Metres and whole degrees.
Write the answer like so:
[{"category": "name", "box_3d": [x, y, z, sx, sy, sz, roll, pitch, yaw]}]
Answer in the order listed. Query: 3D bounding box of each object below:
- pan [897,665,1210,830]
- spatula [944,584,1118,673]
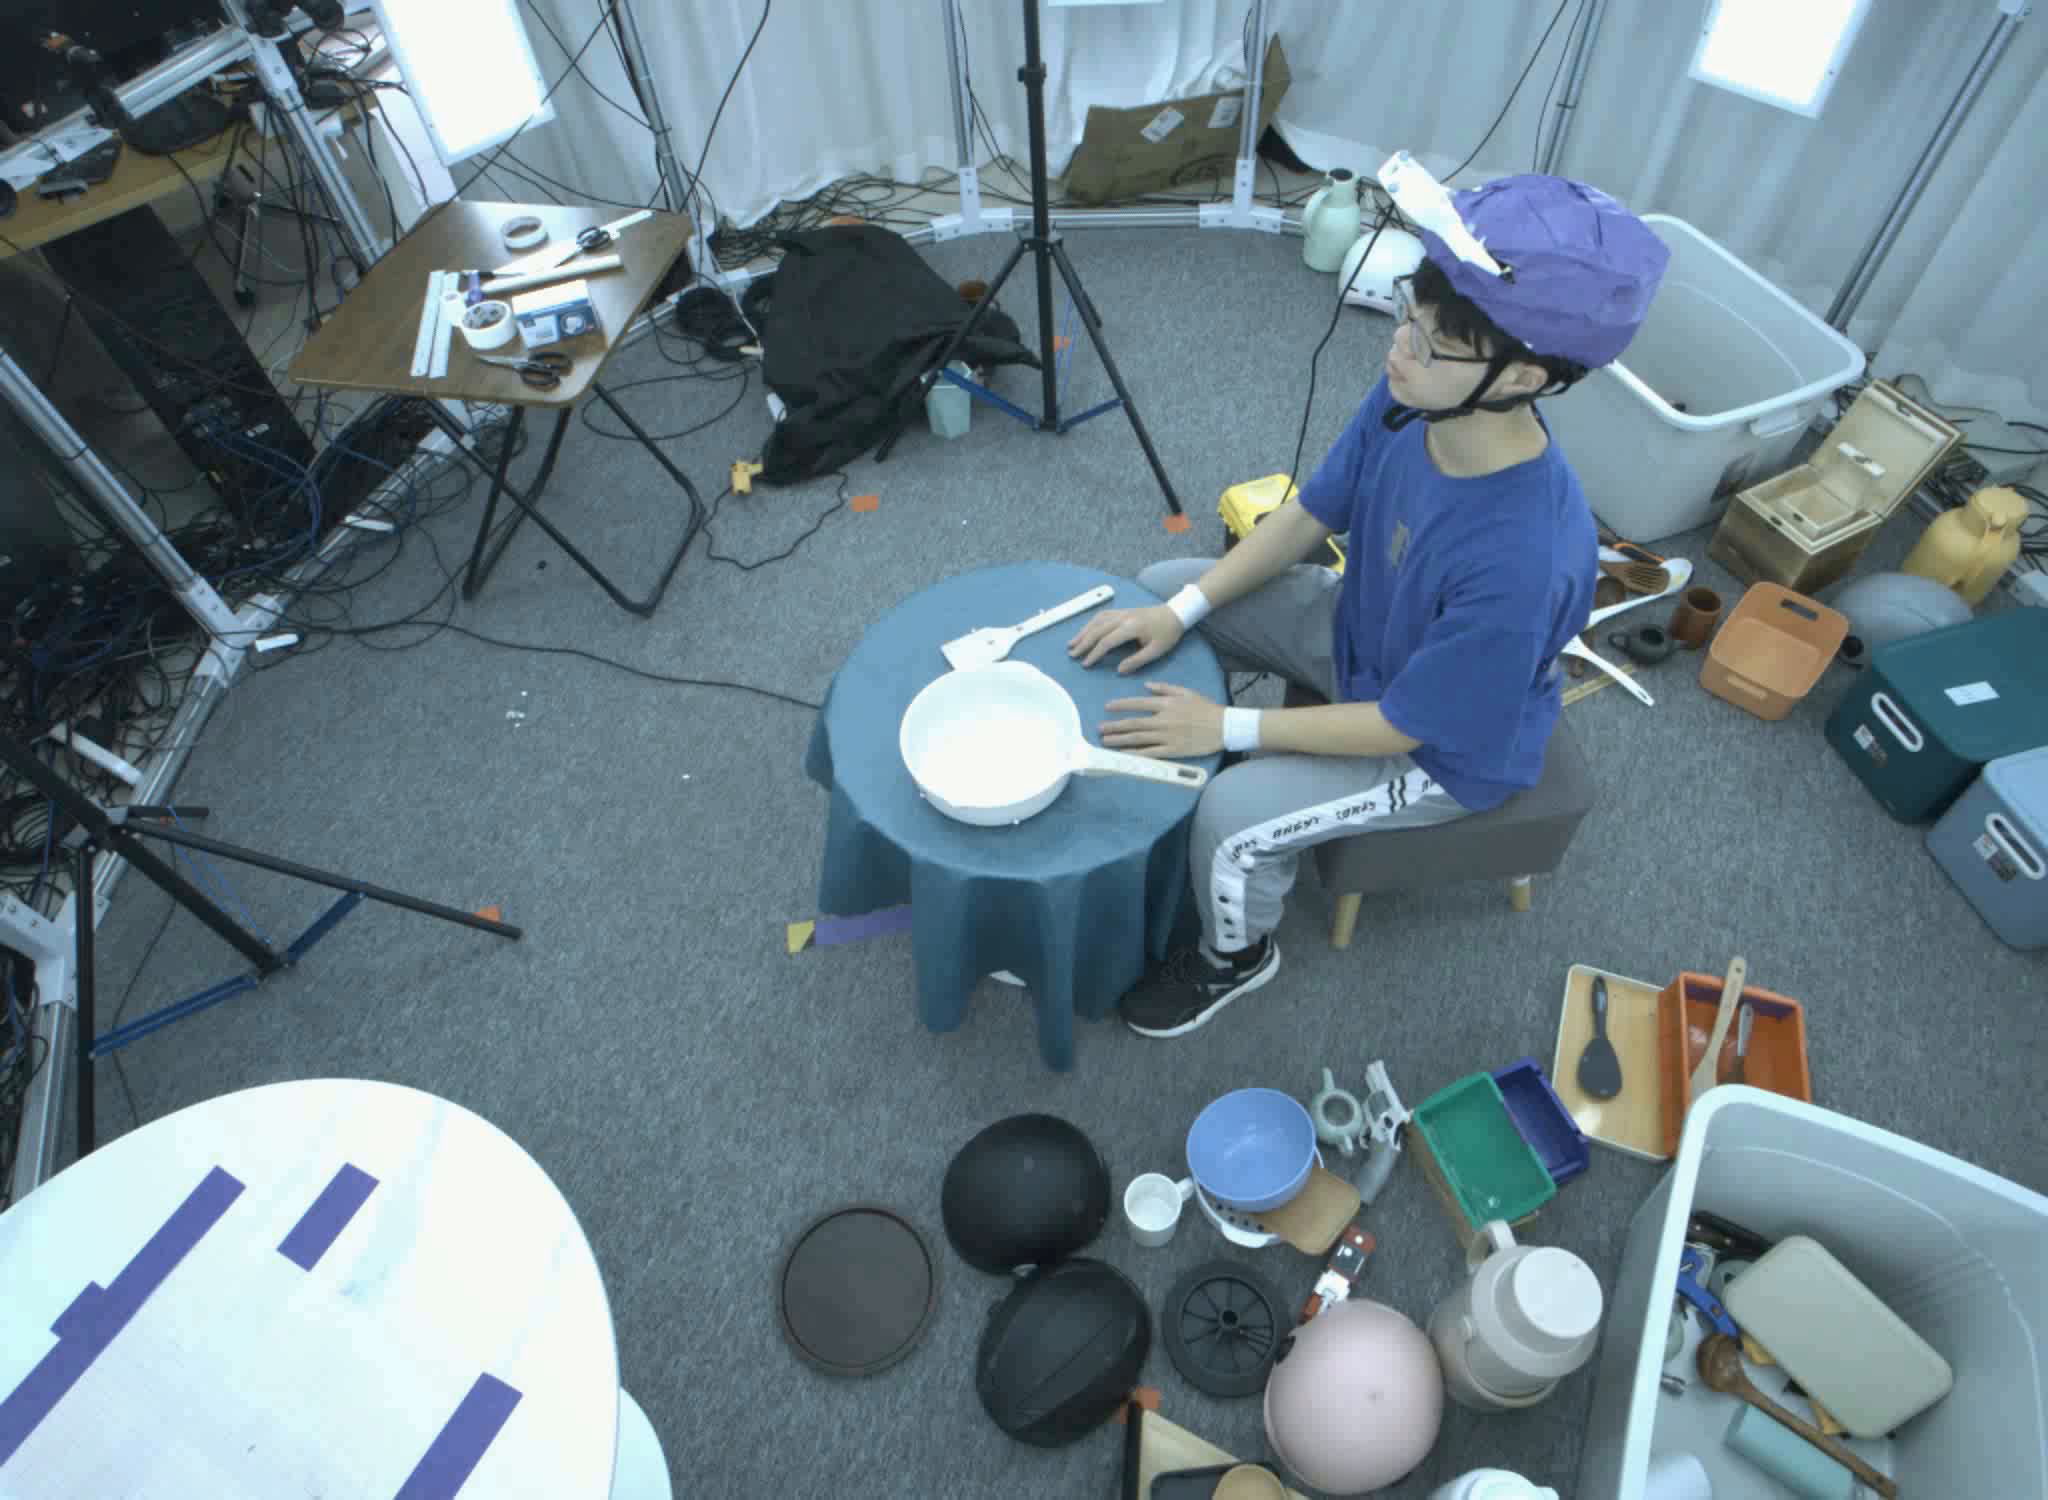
[{"category": "pan", "box_3d": [0.039, 0.019, 1.701, 0.431, 0.103, 0.263, 14, 54, 11]}, {"category": "spatula", "box_3d": [0.016, -0.196, 1.912, 0.295, 0.011, 0.071, -26, 56, -15]}]
